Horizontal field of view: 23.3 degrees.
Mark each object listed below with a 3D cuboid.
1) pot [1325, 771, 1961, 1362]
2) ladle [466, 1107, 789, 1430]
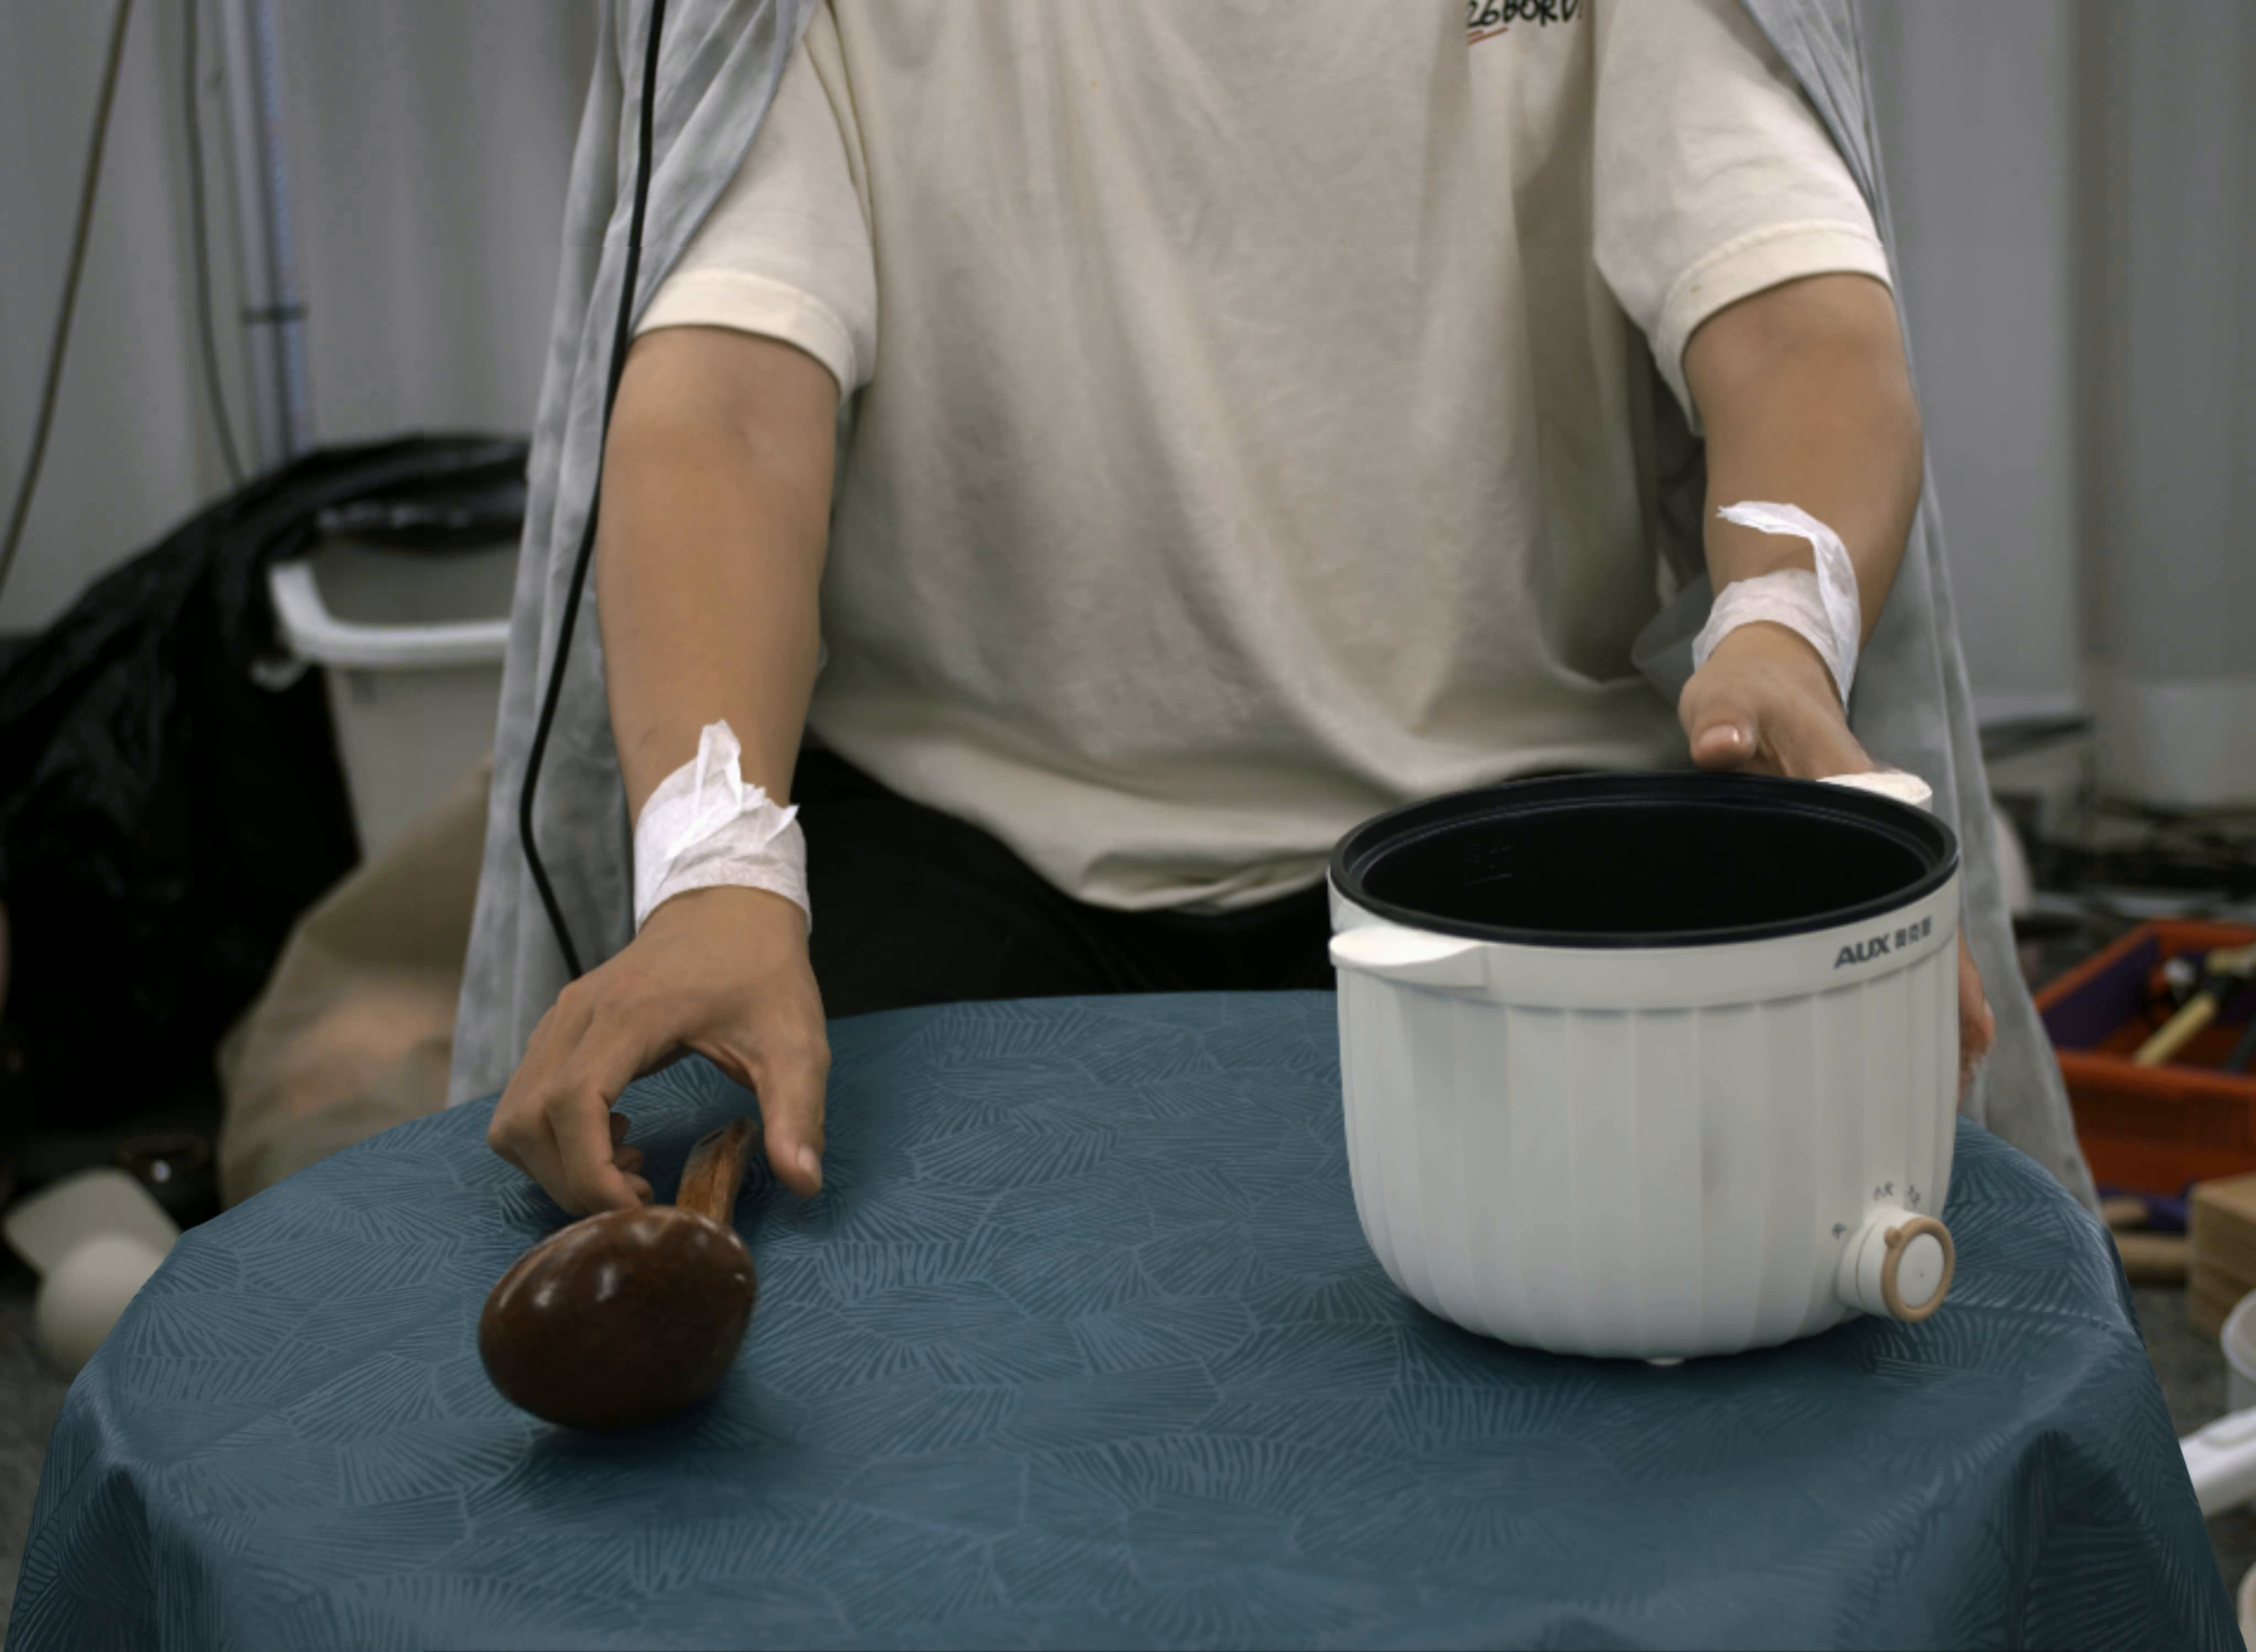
[{"bbox_3d":[0.155,0.071,1.585,0.240,0.142,0.191,-17,17,-41],"label":"pot"},{"bbox_3d":[-0.141,0.110,1.621,0.082,0.076,0.276,-26,14,8],"label":"ladle"}]
